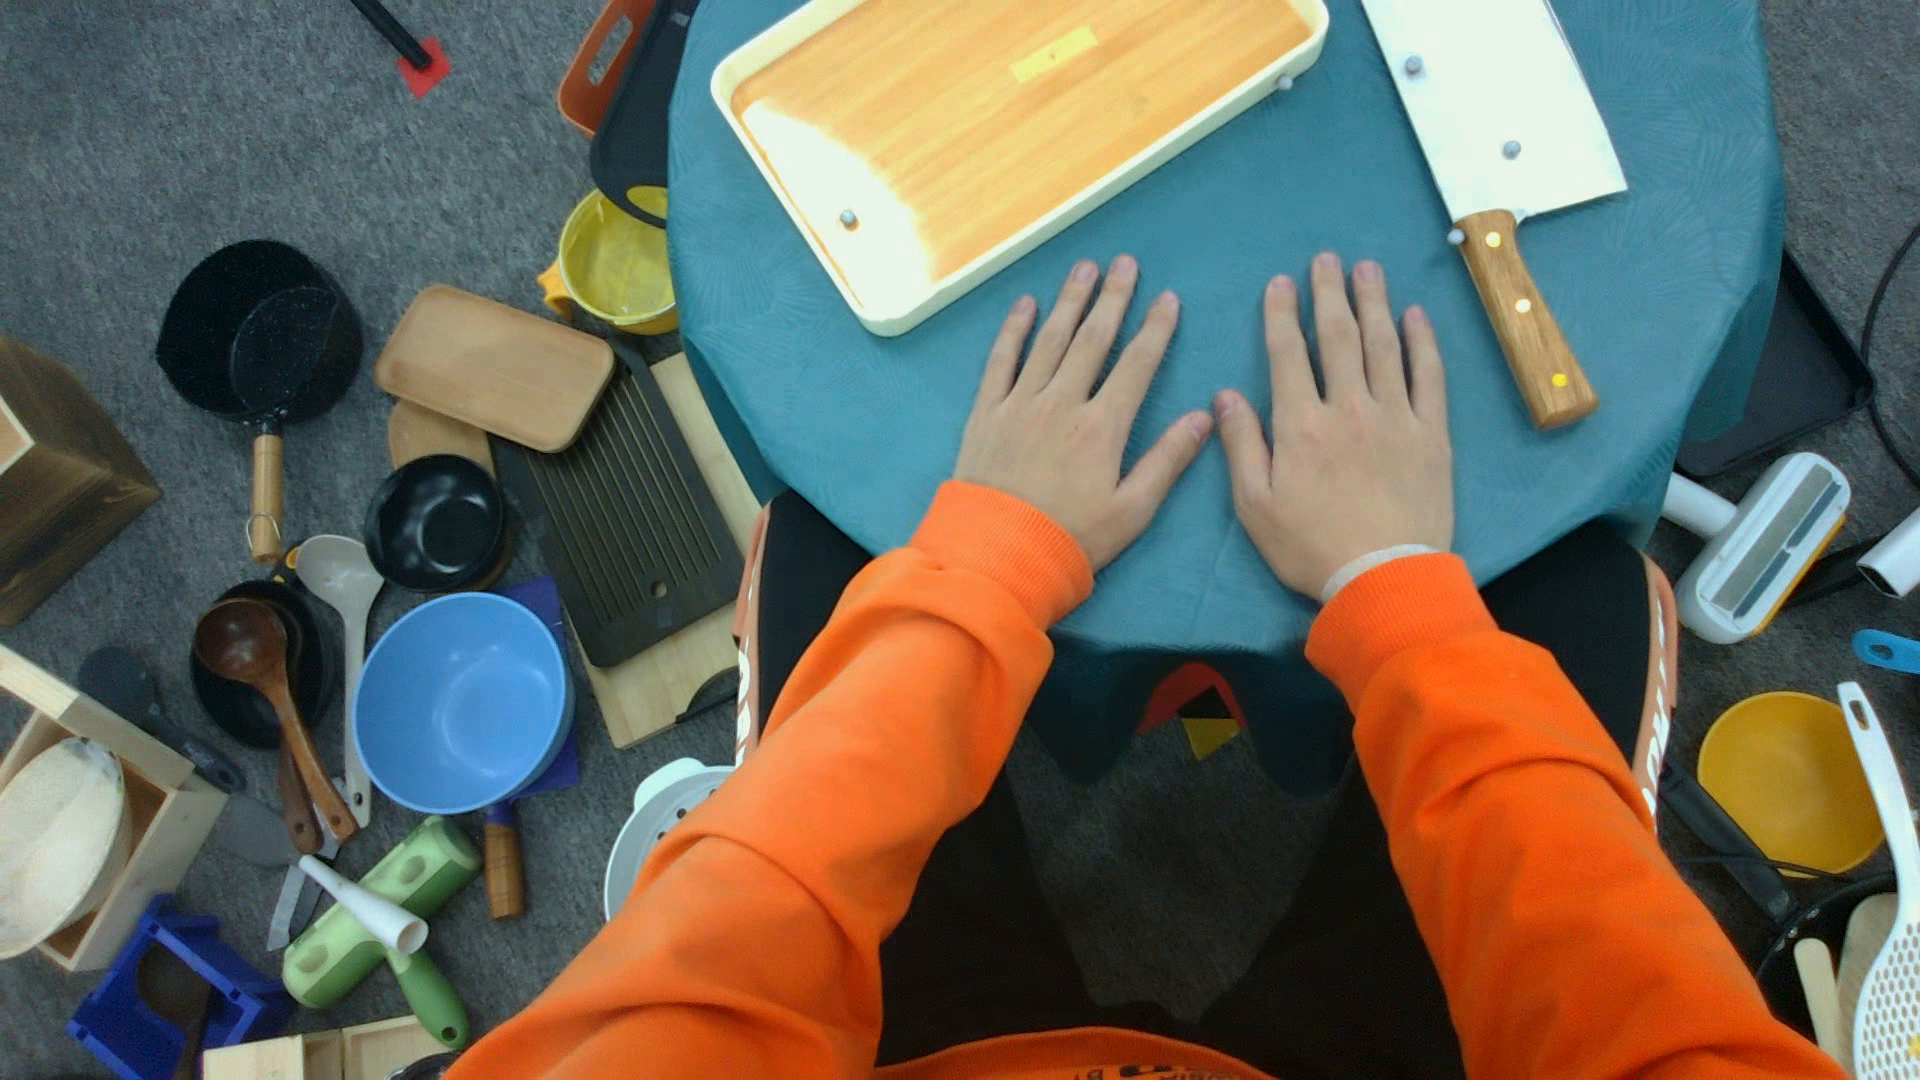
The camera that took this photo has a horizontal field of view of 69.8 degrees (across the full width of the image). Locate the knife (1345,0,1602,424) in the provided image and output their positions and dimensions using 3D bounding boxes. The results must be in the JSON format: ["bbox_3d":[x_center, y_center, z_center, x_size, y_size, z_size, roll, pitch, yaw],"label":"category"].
[{"bbox_3d":[0.280,-0.209,0.724,0.093,0.021,0.306,-16,72,2],"label":"knife"}]

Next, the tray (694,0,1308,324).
[{"bbox_3d":[0.020,-0.269,0.767,0.300,0.027,0.192,-33,74,-2],"label":"tray"}]
